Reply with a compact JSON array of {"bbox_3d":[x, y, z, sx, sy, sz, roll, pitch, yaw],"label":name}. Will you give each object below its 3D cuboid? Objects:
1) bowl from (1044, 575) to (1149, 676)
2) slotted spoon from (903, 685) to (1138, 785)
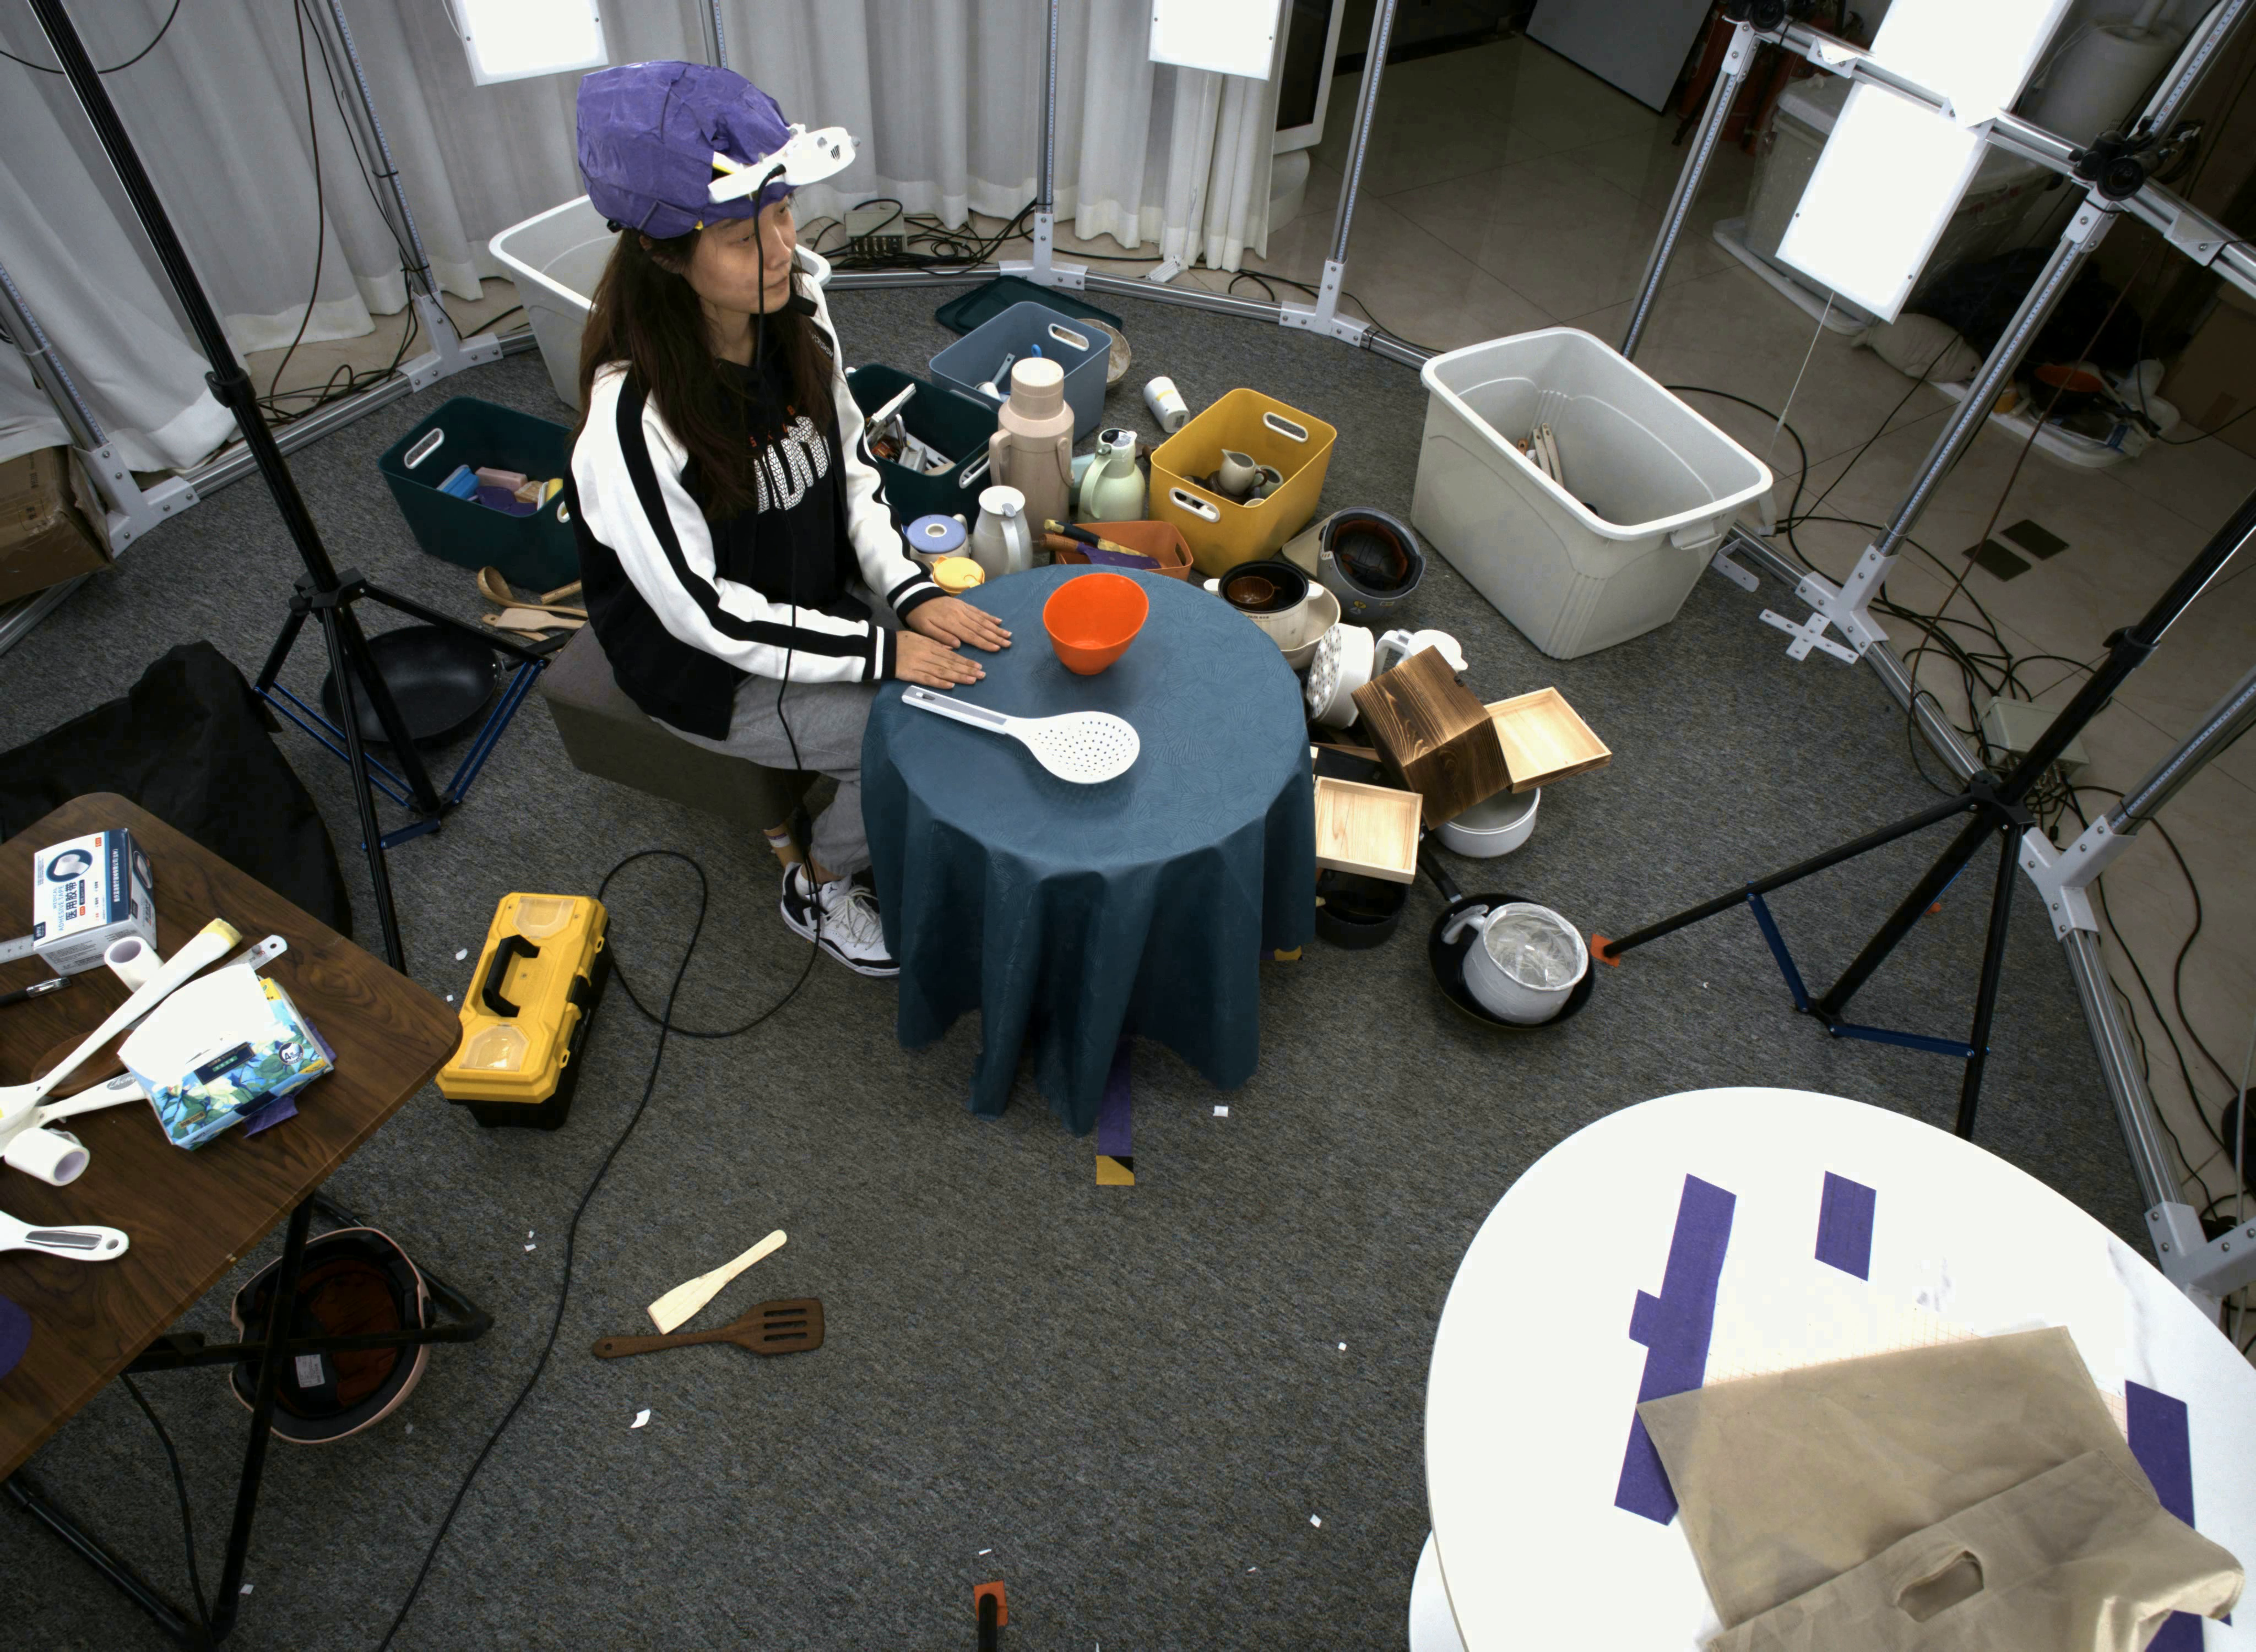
[{"bbox_3d":[-0.047,-0.277,1.843,0.148,0.102,0.152,2,51,-2],"label":"bowl"},{"bbox_3d":[-0.152,-0.133,1.746,0.352,0.044,0.138,21,50,15],"label":"slotted spoon"}]
